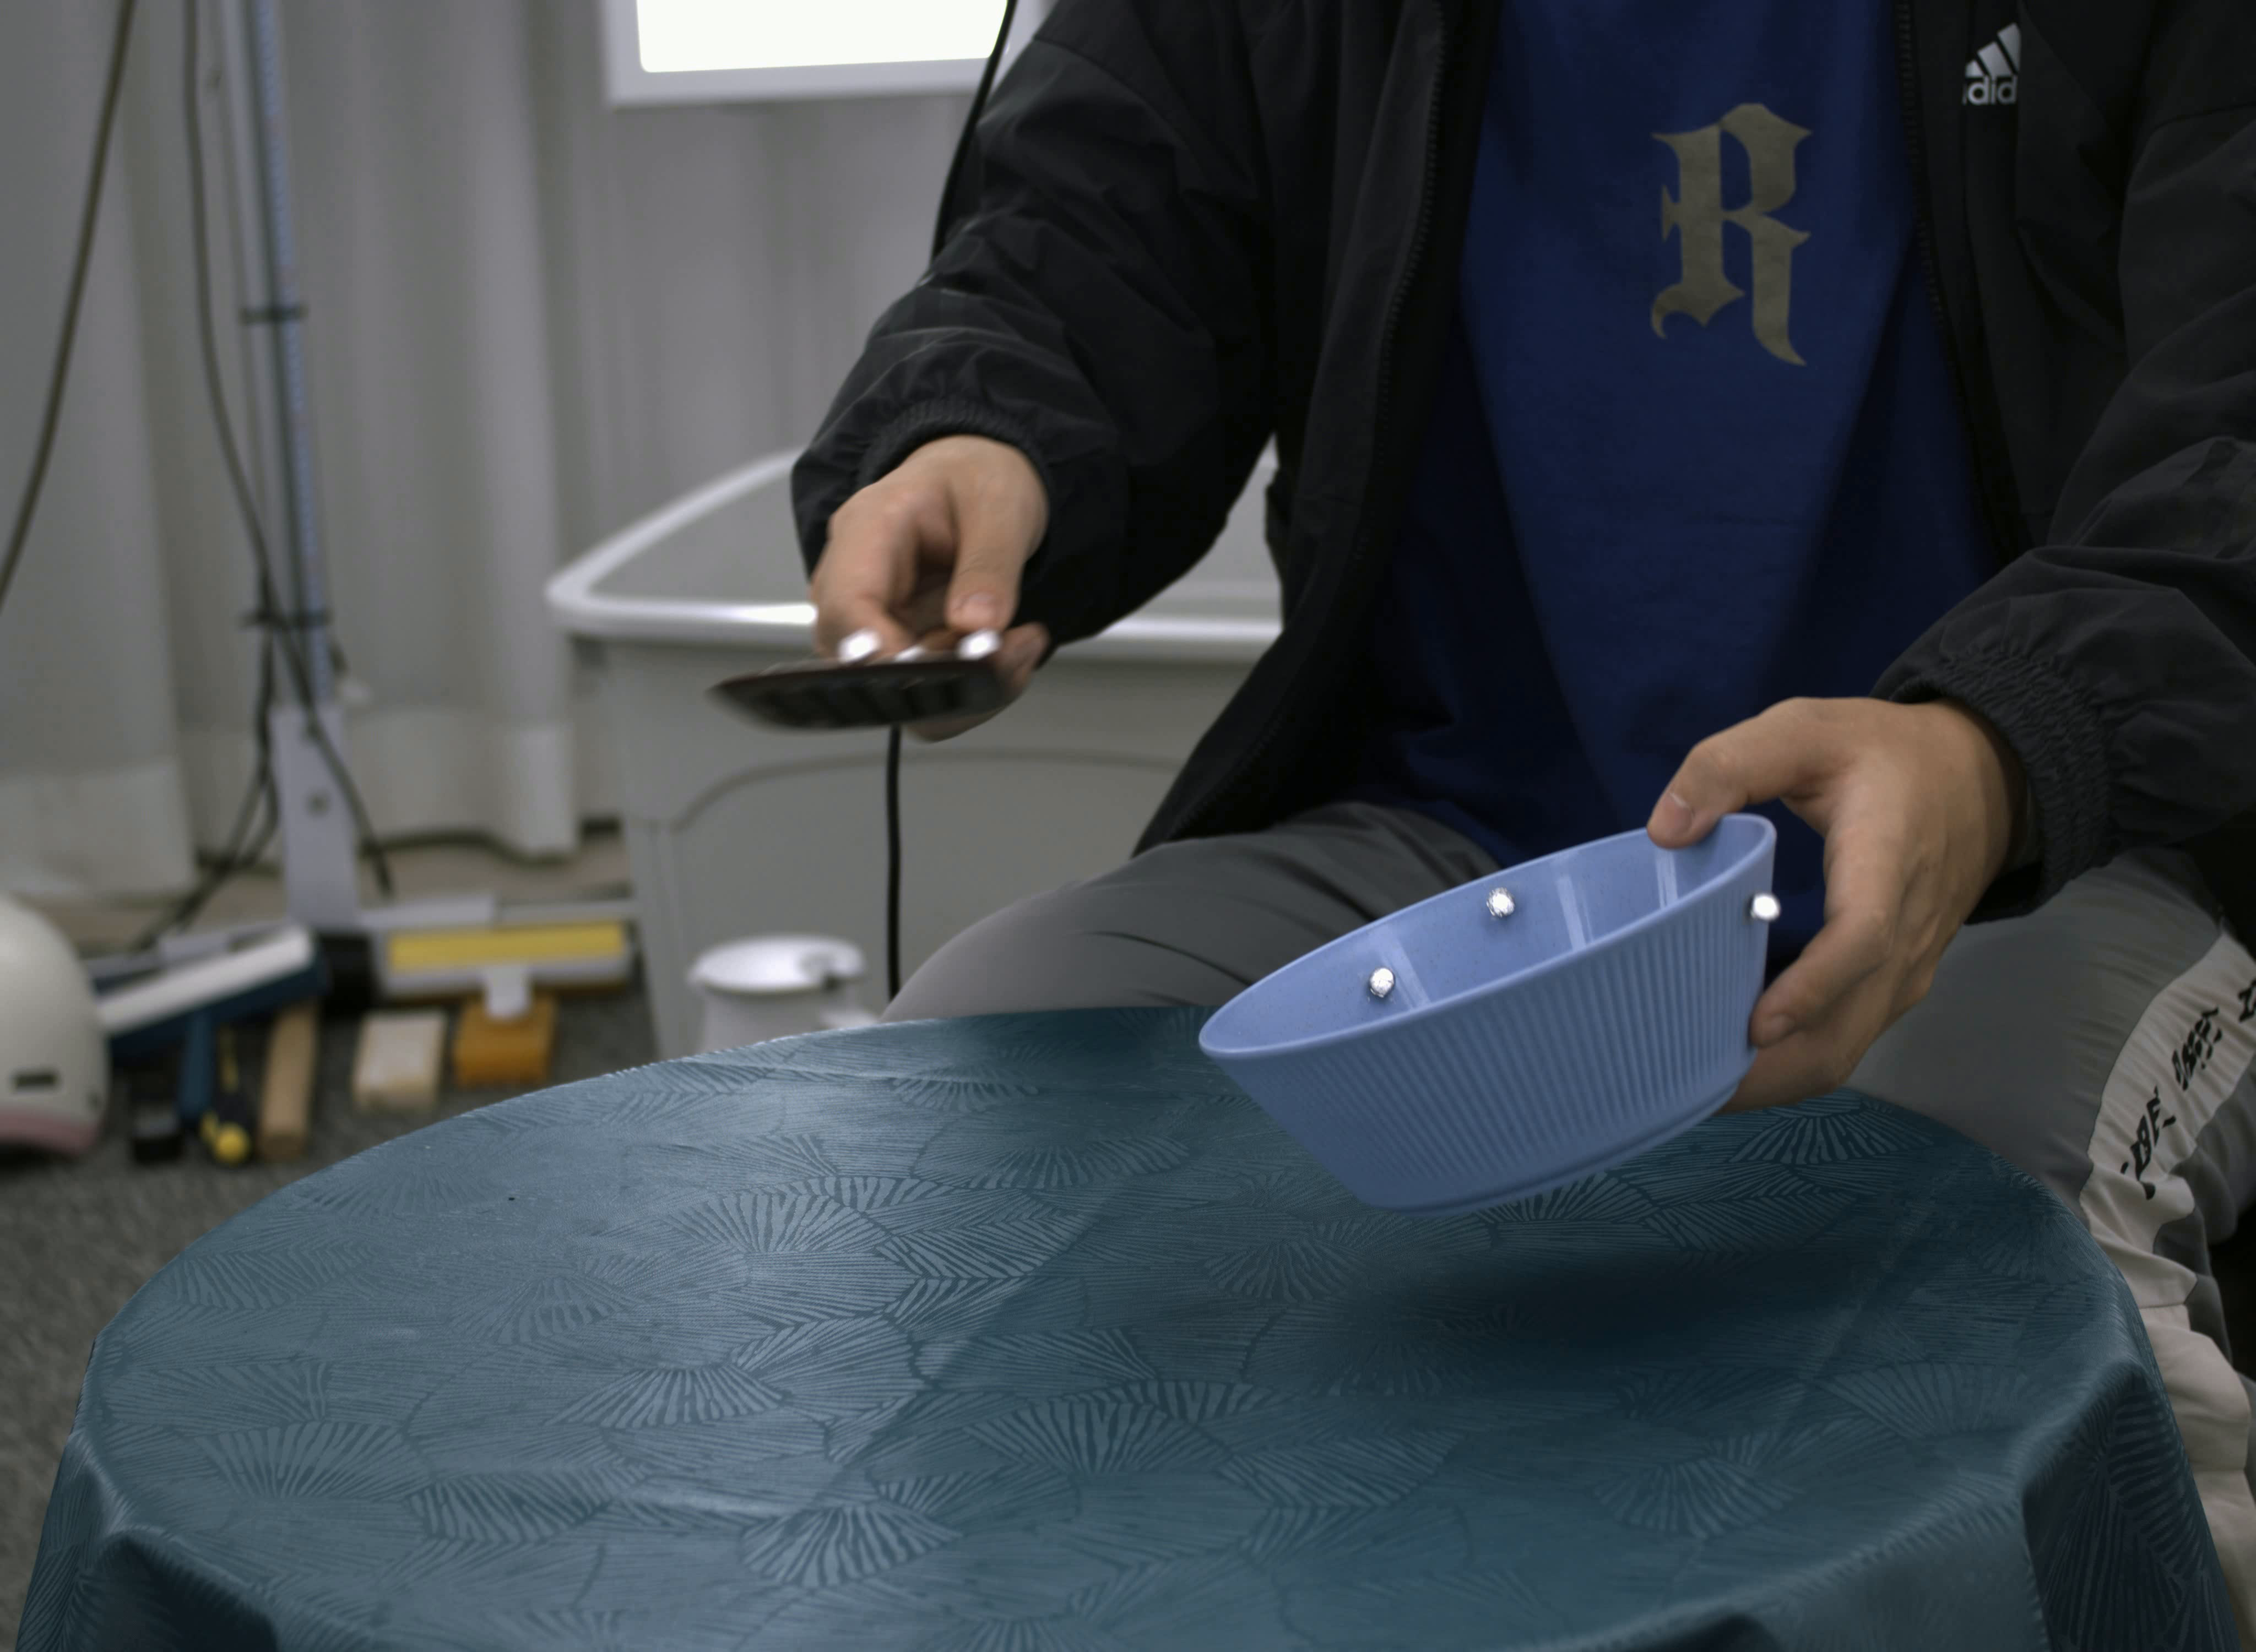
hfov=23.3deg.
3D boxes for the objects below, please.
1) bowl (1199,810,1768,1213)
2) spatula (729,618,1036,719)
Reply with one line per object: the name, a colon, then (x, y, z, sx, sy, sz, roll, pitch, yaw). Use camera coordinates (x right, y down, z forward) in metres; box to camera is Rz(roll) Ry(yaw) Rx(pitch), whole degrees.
bowl: (0.112, 0.058, 1.568, 0.175, 0.070, 0.176, -21, 6, 2)
spatula: (-0.059, -0.051, 1.722, 0.085, 0.024, 0.387, -4, 3, 5)
